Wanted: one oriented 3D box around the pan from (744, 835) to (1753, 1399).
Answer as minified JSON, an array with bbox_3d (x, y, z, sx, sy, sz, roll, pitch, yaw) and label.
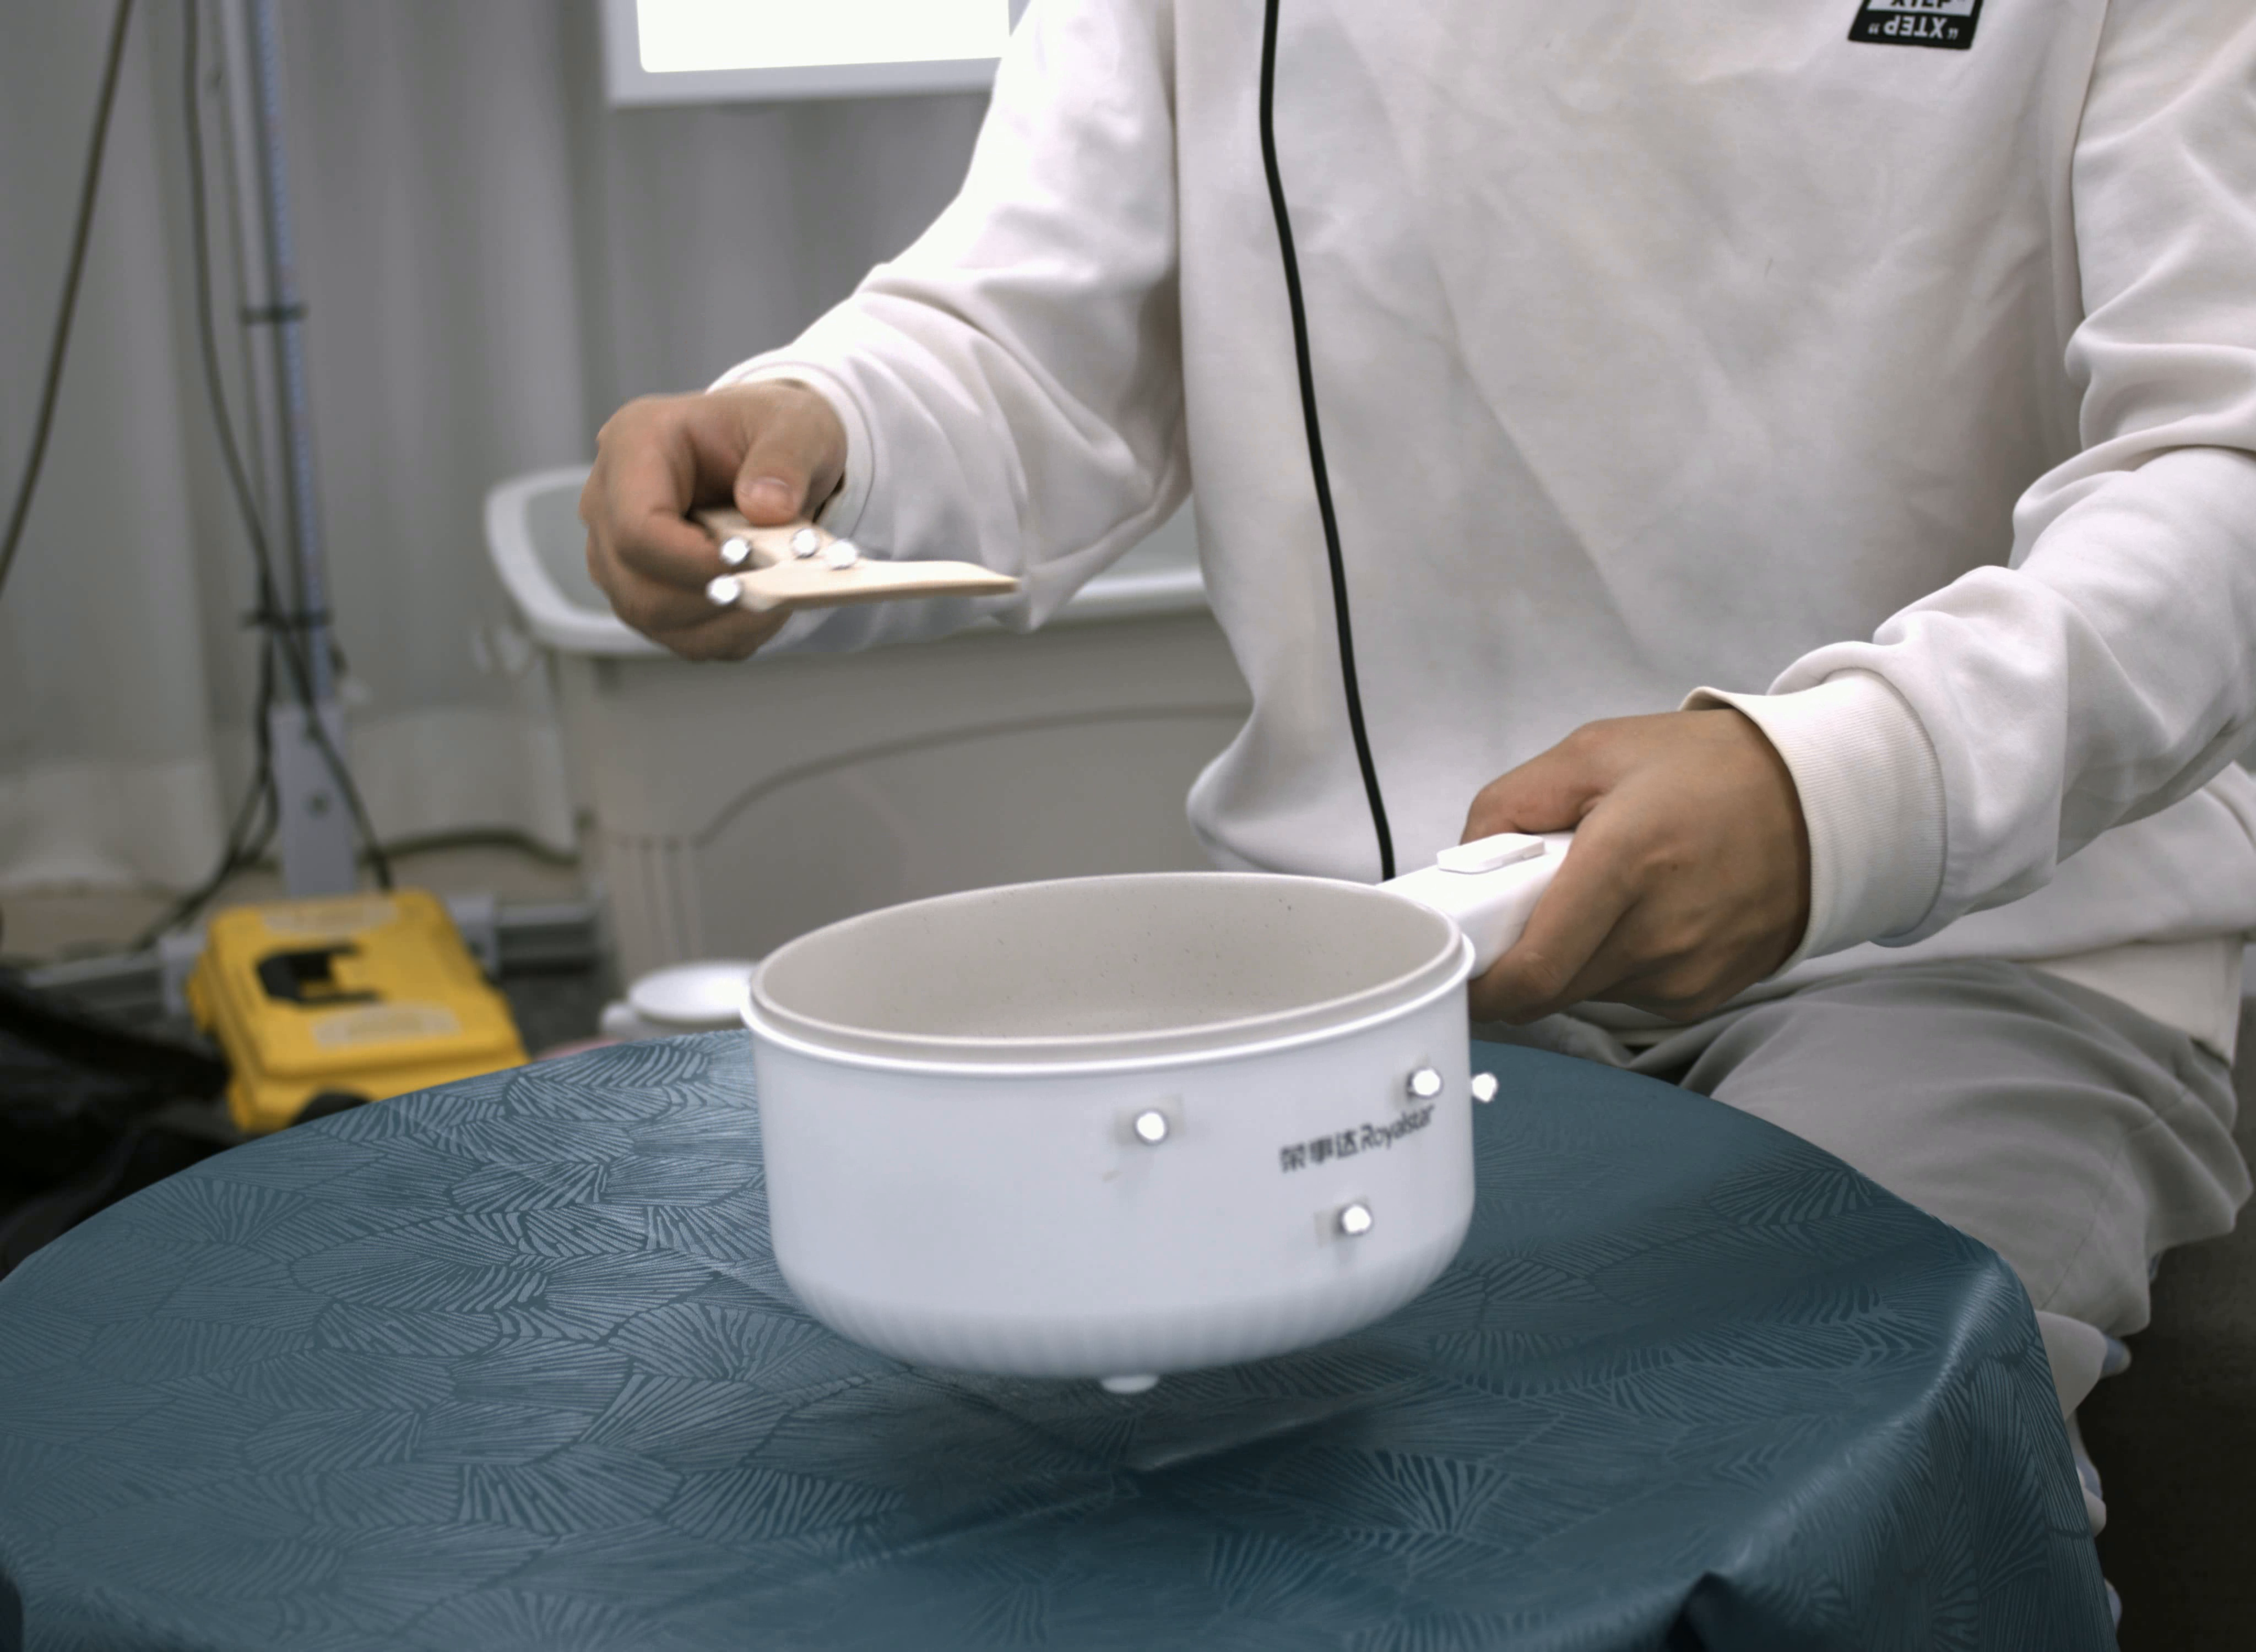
[{"bbox_3d":[0.052,0.077,1.554,0.353,0.102,0.202,-12,11,-44],"label":"pan"}]
